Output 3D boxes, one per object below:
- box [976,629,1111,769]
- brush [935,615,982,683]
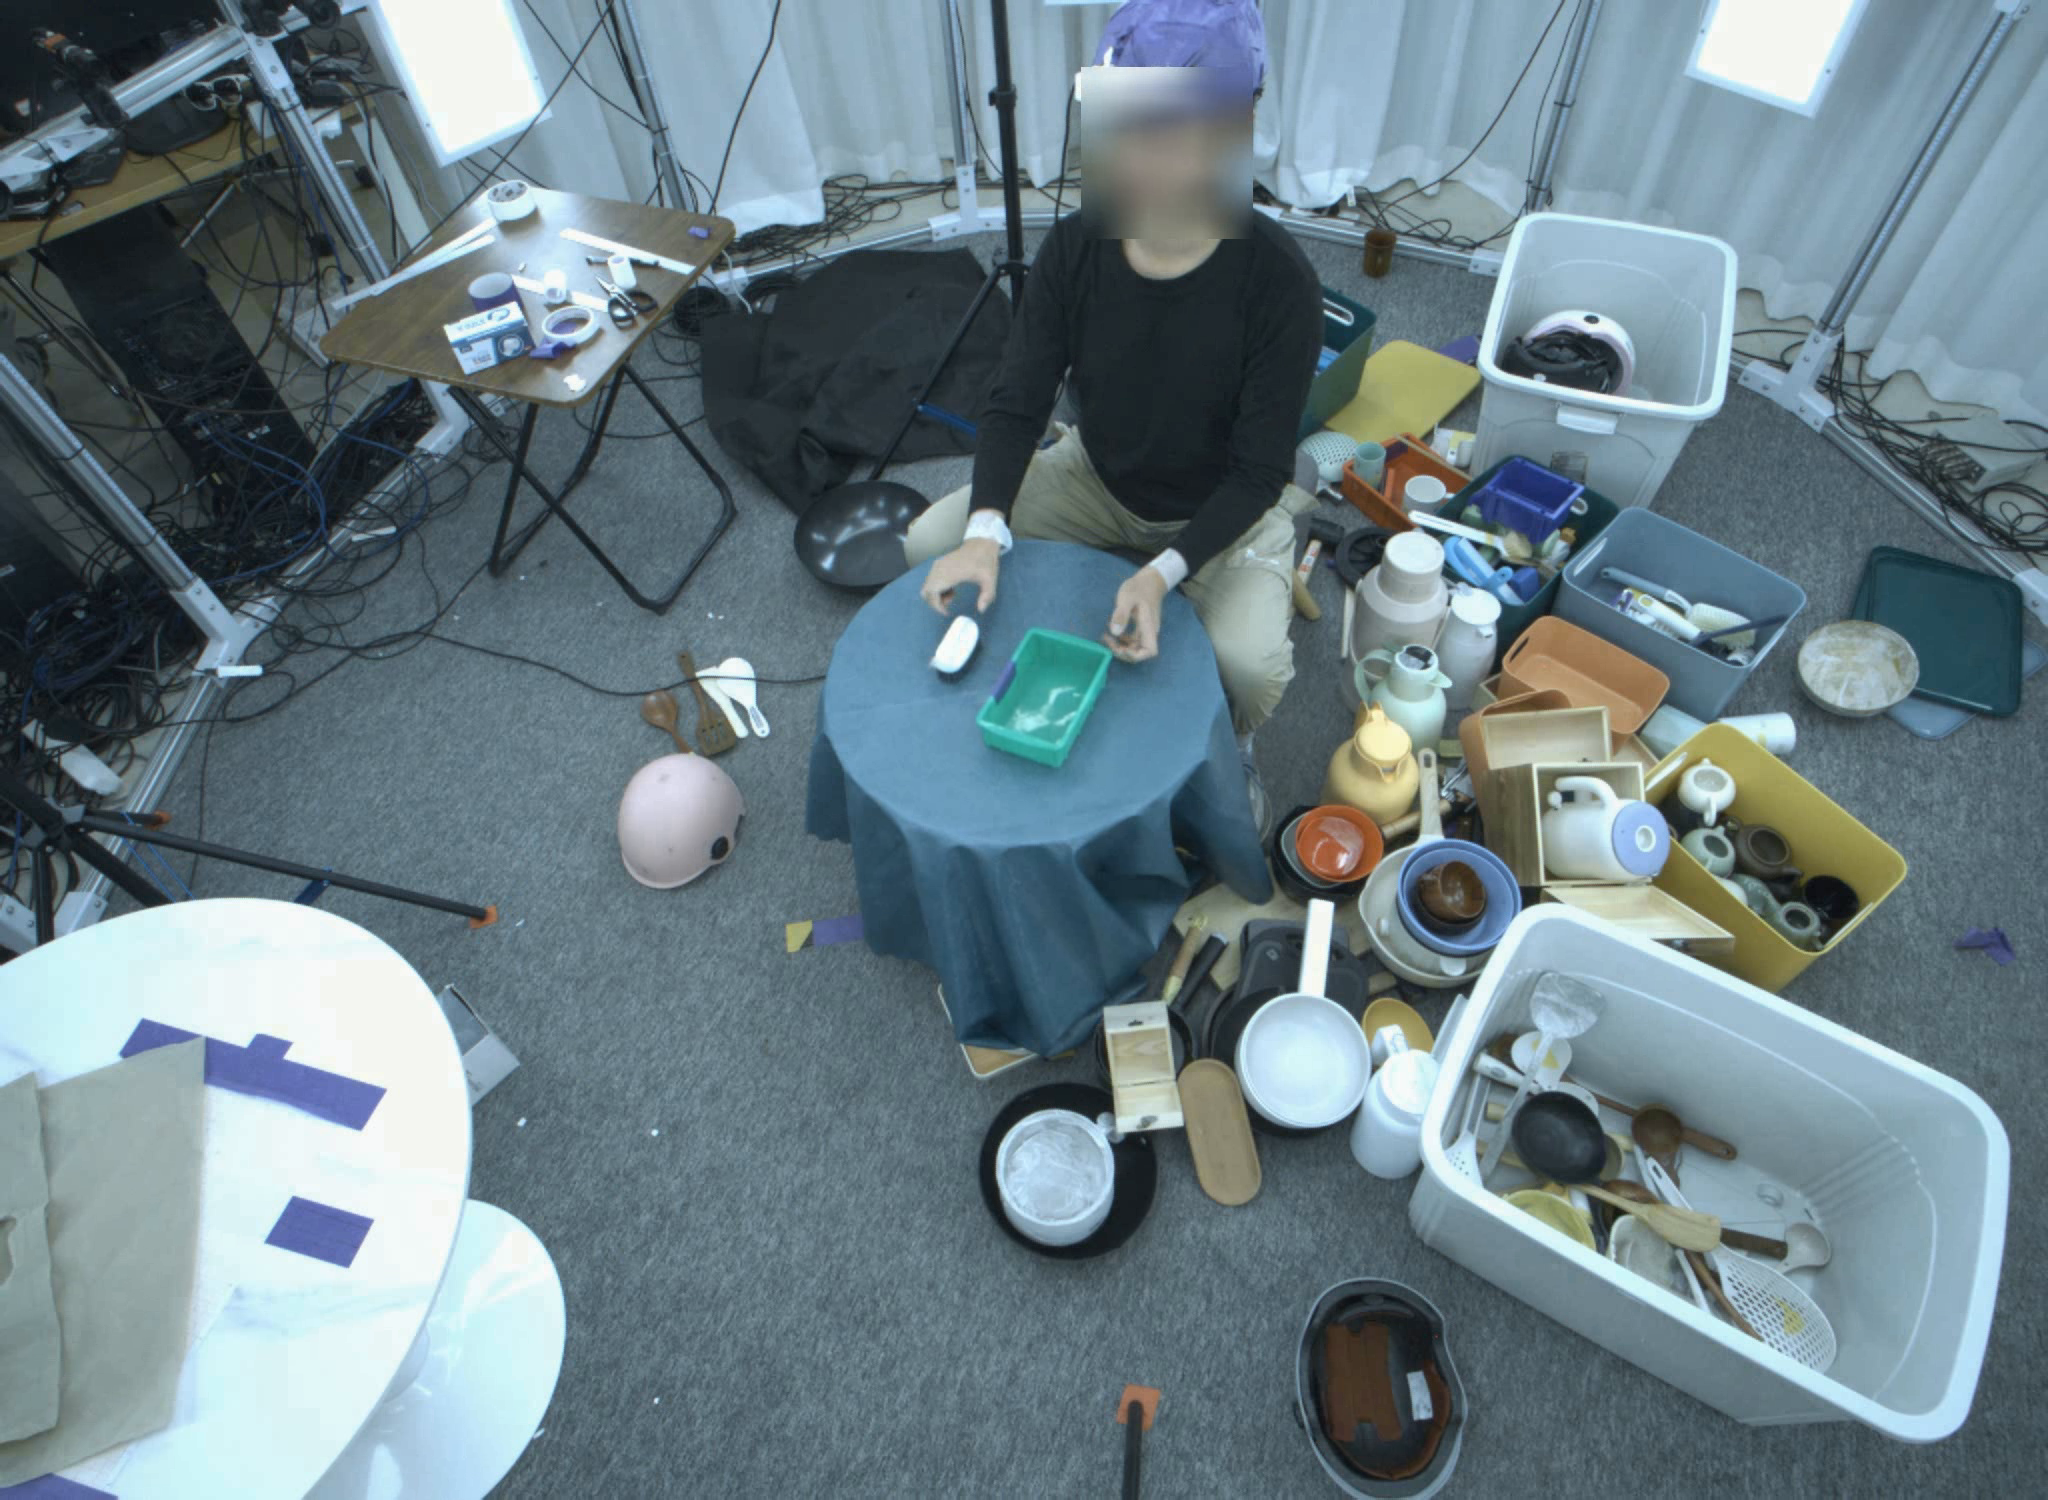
[{"bbox_3d":[0.032,-0.072,1.800,0.137,0.066,0.210,16,58,16],"label":"box"},{"bbox_3d":[-0.102,-0.161,1.859,0.049,0.073,0.099,19,58,17],"label":"brush"}]
